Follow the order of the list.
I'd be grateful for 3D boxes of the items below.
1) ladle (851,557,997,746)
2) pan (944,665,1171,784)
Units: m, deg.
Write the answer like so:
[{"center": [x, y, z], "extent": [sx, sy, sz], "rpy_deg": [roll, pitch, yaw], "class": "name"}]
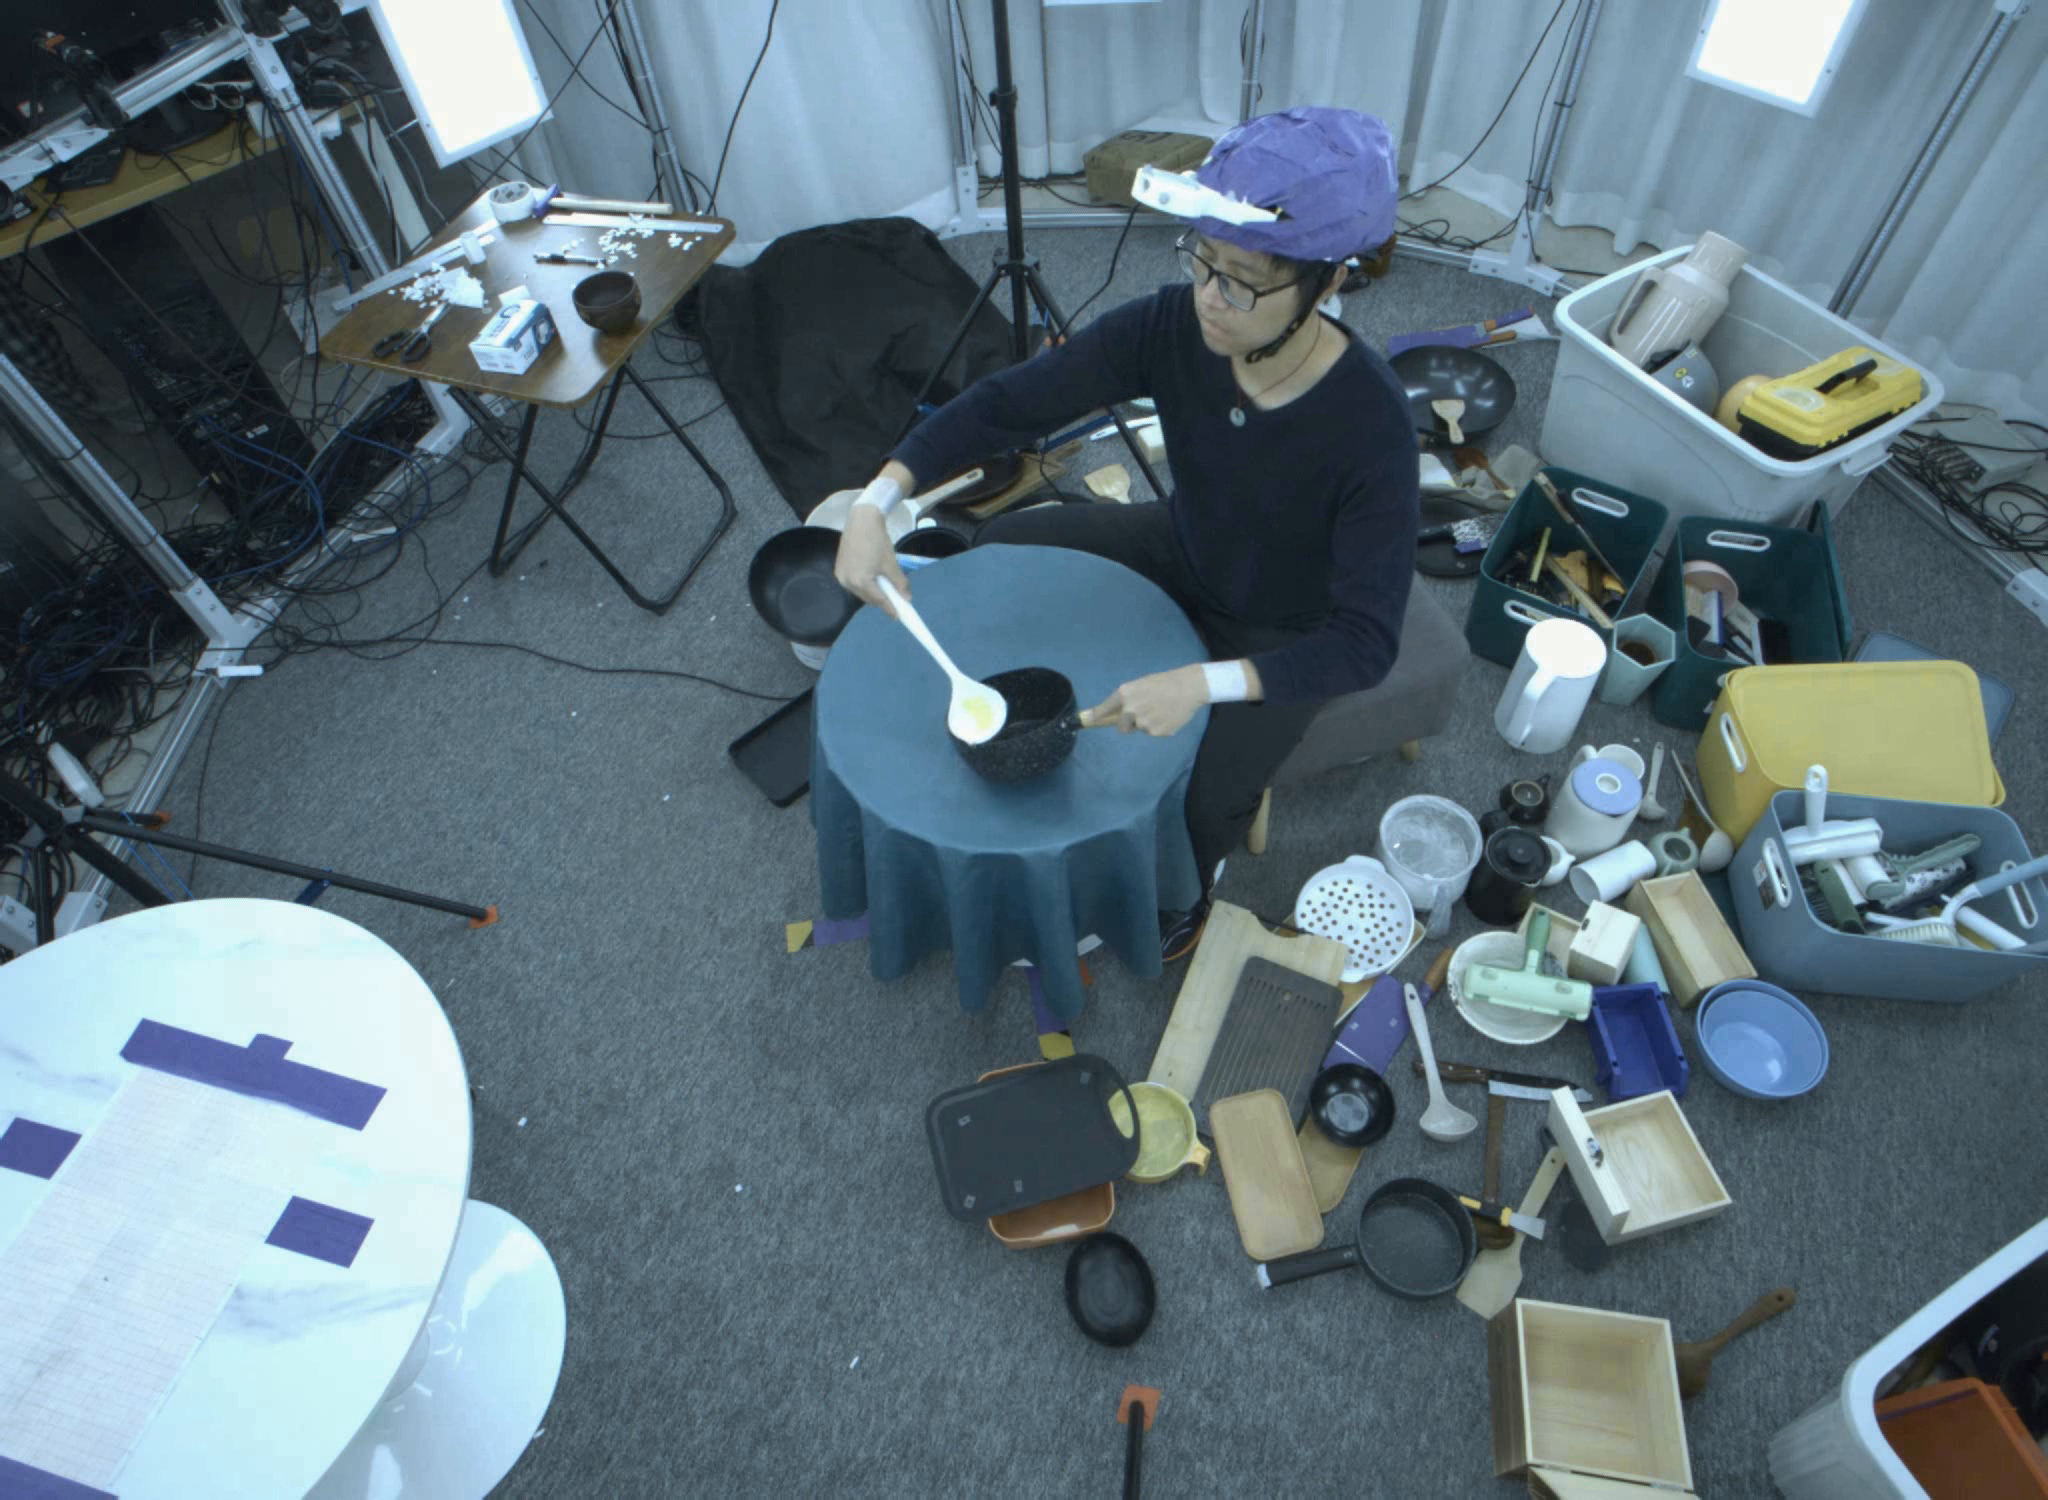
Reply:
[{"center": [-0.141, -0.133, 1.674], "extent": [0.089, 0.297, 0.069], "rpy_deg": [-27, 24, 26], "class": "ladle"}, {"center": [0.054, -0.034, 1.686], "extent": [0.336, 0.110, 0.208], "rpy_deg": [4, 38, 29], "class": "pan"}]
